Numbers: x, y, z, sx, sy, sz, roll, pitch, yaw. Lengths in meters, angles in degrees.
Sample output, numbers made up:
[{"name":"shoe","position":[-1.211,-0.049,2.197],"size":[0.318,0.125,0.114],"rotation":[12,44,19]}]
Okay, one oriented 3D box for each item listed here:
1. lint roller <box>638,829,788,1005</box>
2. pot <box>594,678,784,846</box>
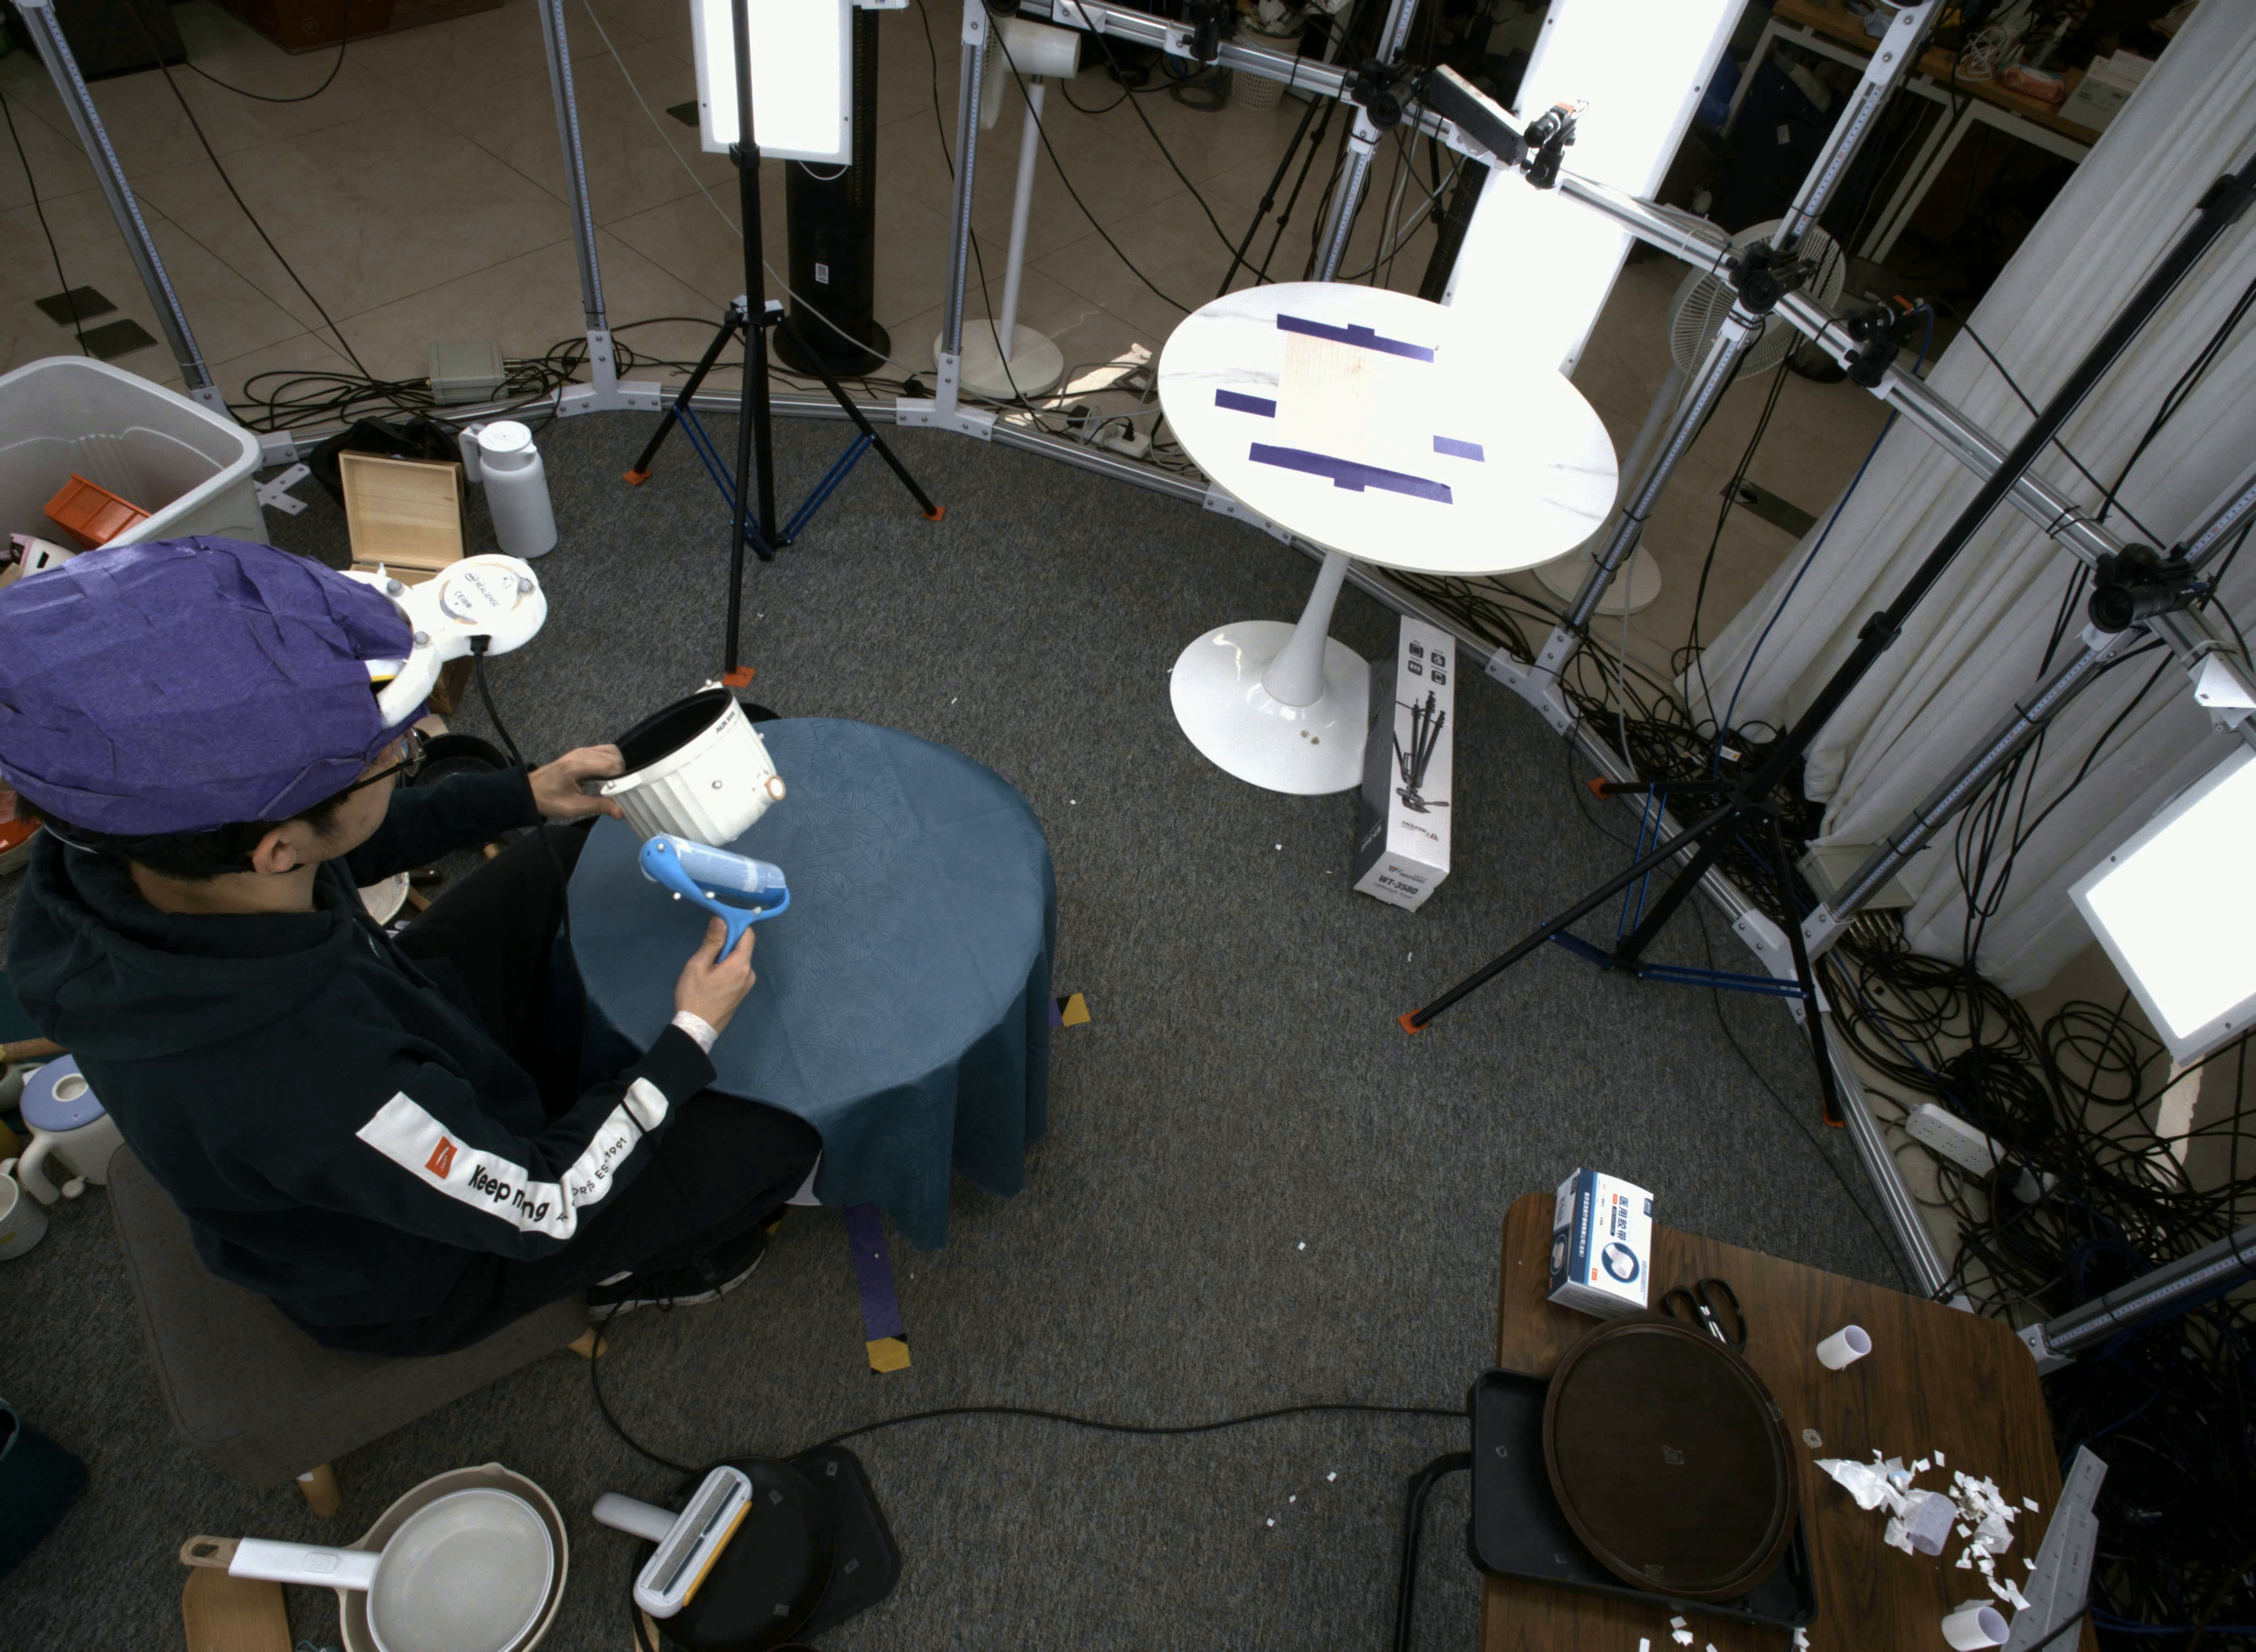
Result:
[{"name":"lint roller","position":[-0.461,0.103,1.446],"size":[0.066,0.233,0.181],"rotation":[-7,82,18]},{"name":"pot","position":[-0.501,-0.061,1.487],"size":[0.186,0.148,0.237],"rotation":[-17,31,25]}]
